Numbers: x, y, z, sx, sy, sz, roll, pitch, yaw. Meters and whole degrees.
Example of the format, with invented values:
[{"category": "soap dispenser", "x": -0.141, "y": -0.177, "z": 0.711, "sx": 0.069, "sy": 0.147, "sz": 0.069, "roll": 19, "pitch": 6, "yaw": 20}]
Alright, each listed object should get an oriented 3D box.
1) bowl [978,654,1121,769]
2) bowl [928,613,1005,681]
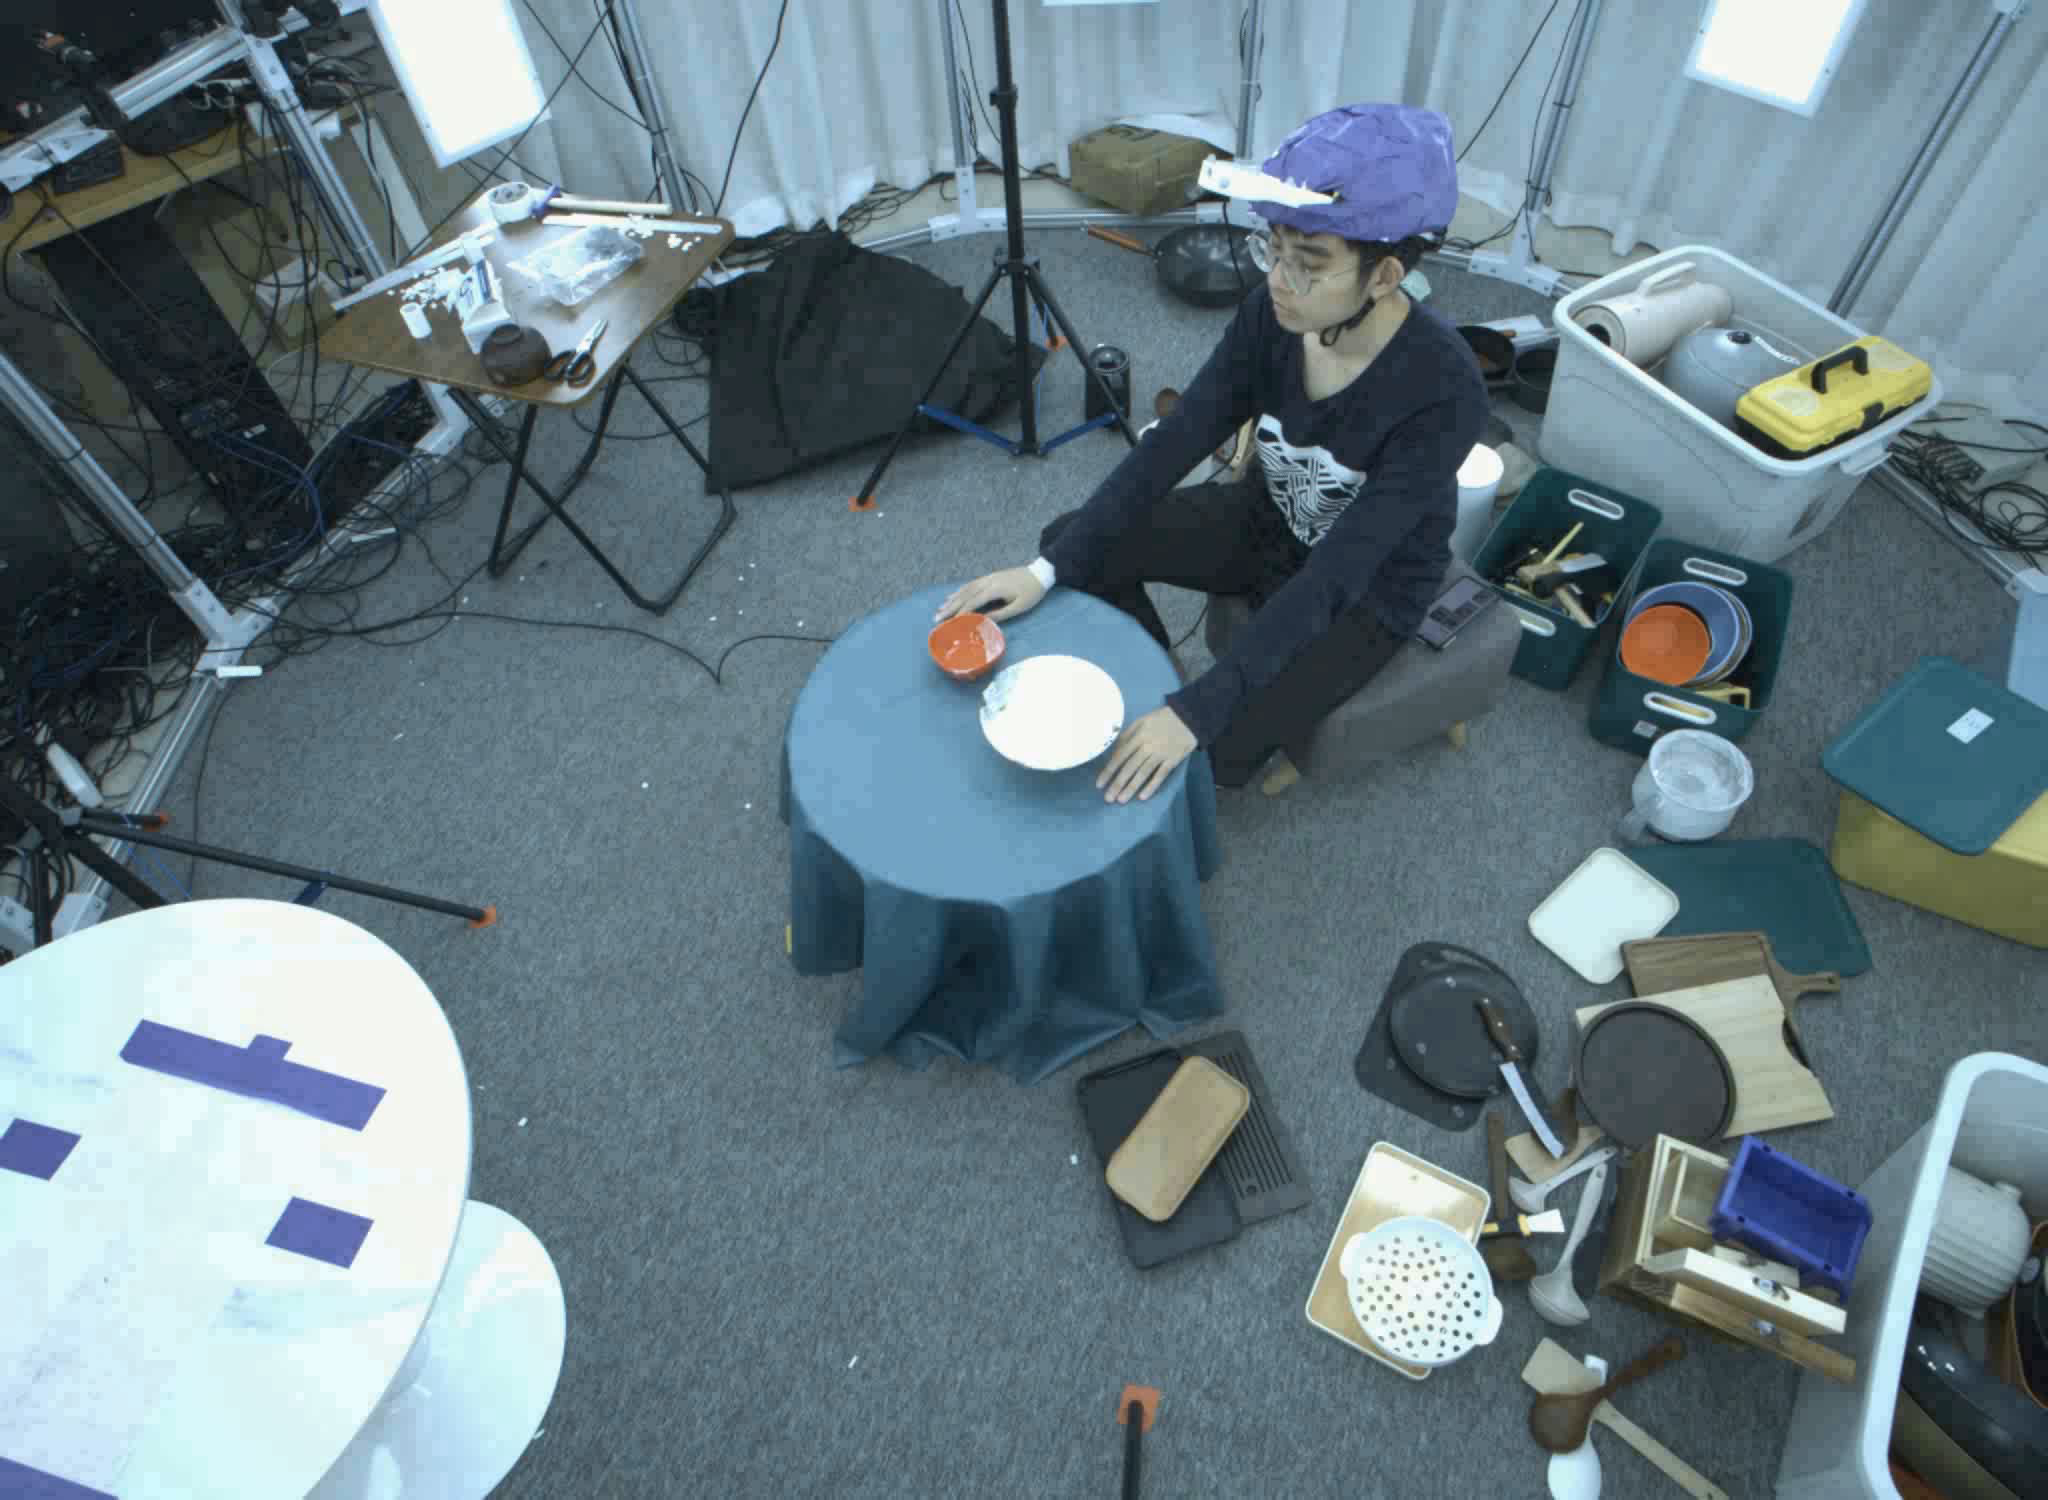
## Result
[{"category": "bowl", "x": 0.035, "y": -0.037, "z": 1.776, "sx": 0.204, "sy": 0.078, "sz": 0.202, "roll": 2, "pitch": 55, "yaw": -2}, {"category": "bowl", "x": -0.086, "y": -0.150, "z": 1.872, "sx": 0.119, "sy": 0.052, "sz": 0.117, "roll": -1, "pitch": 54, "yaw": 3}]
